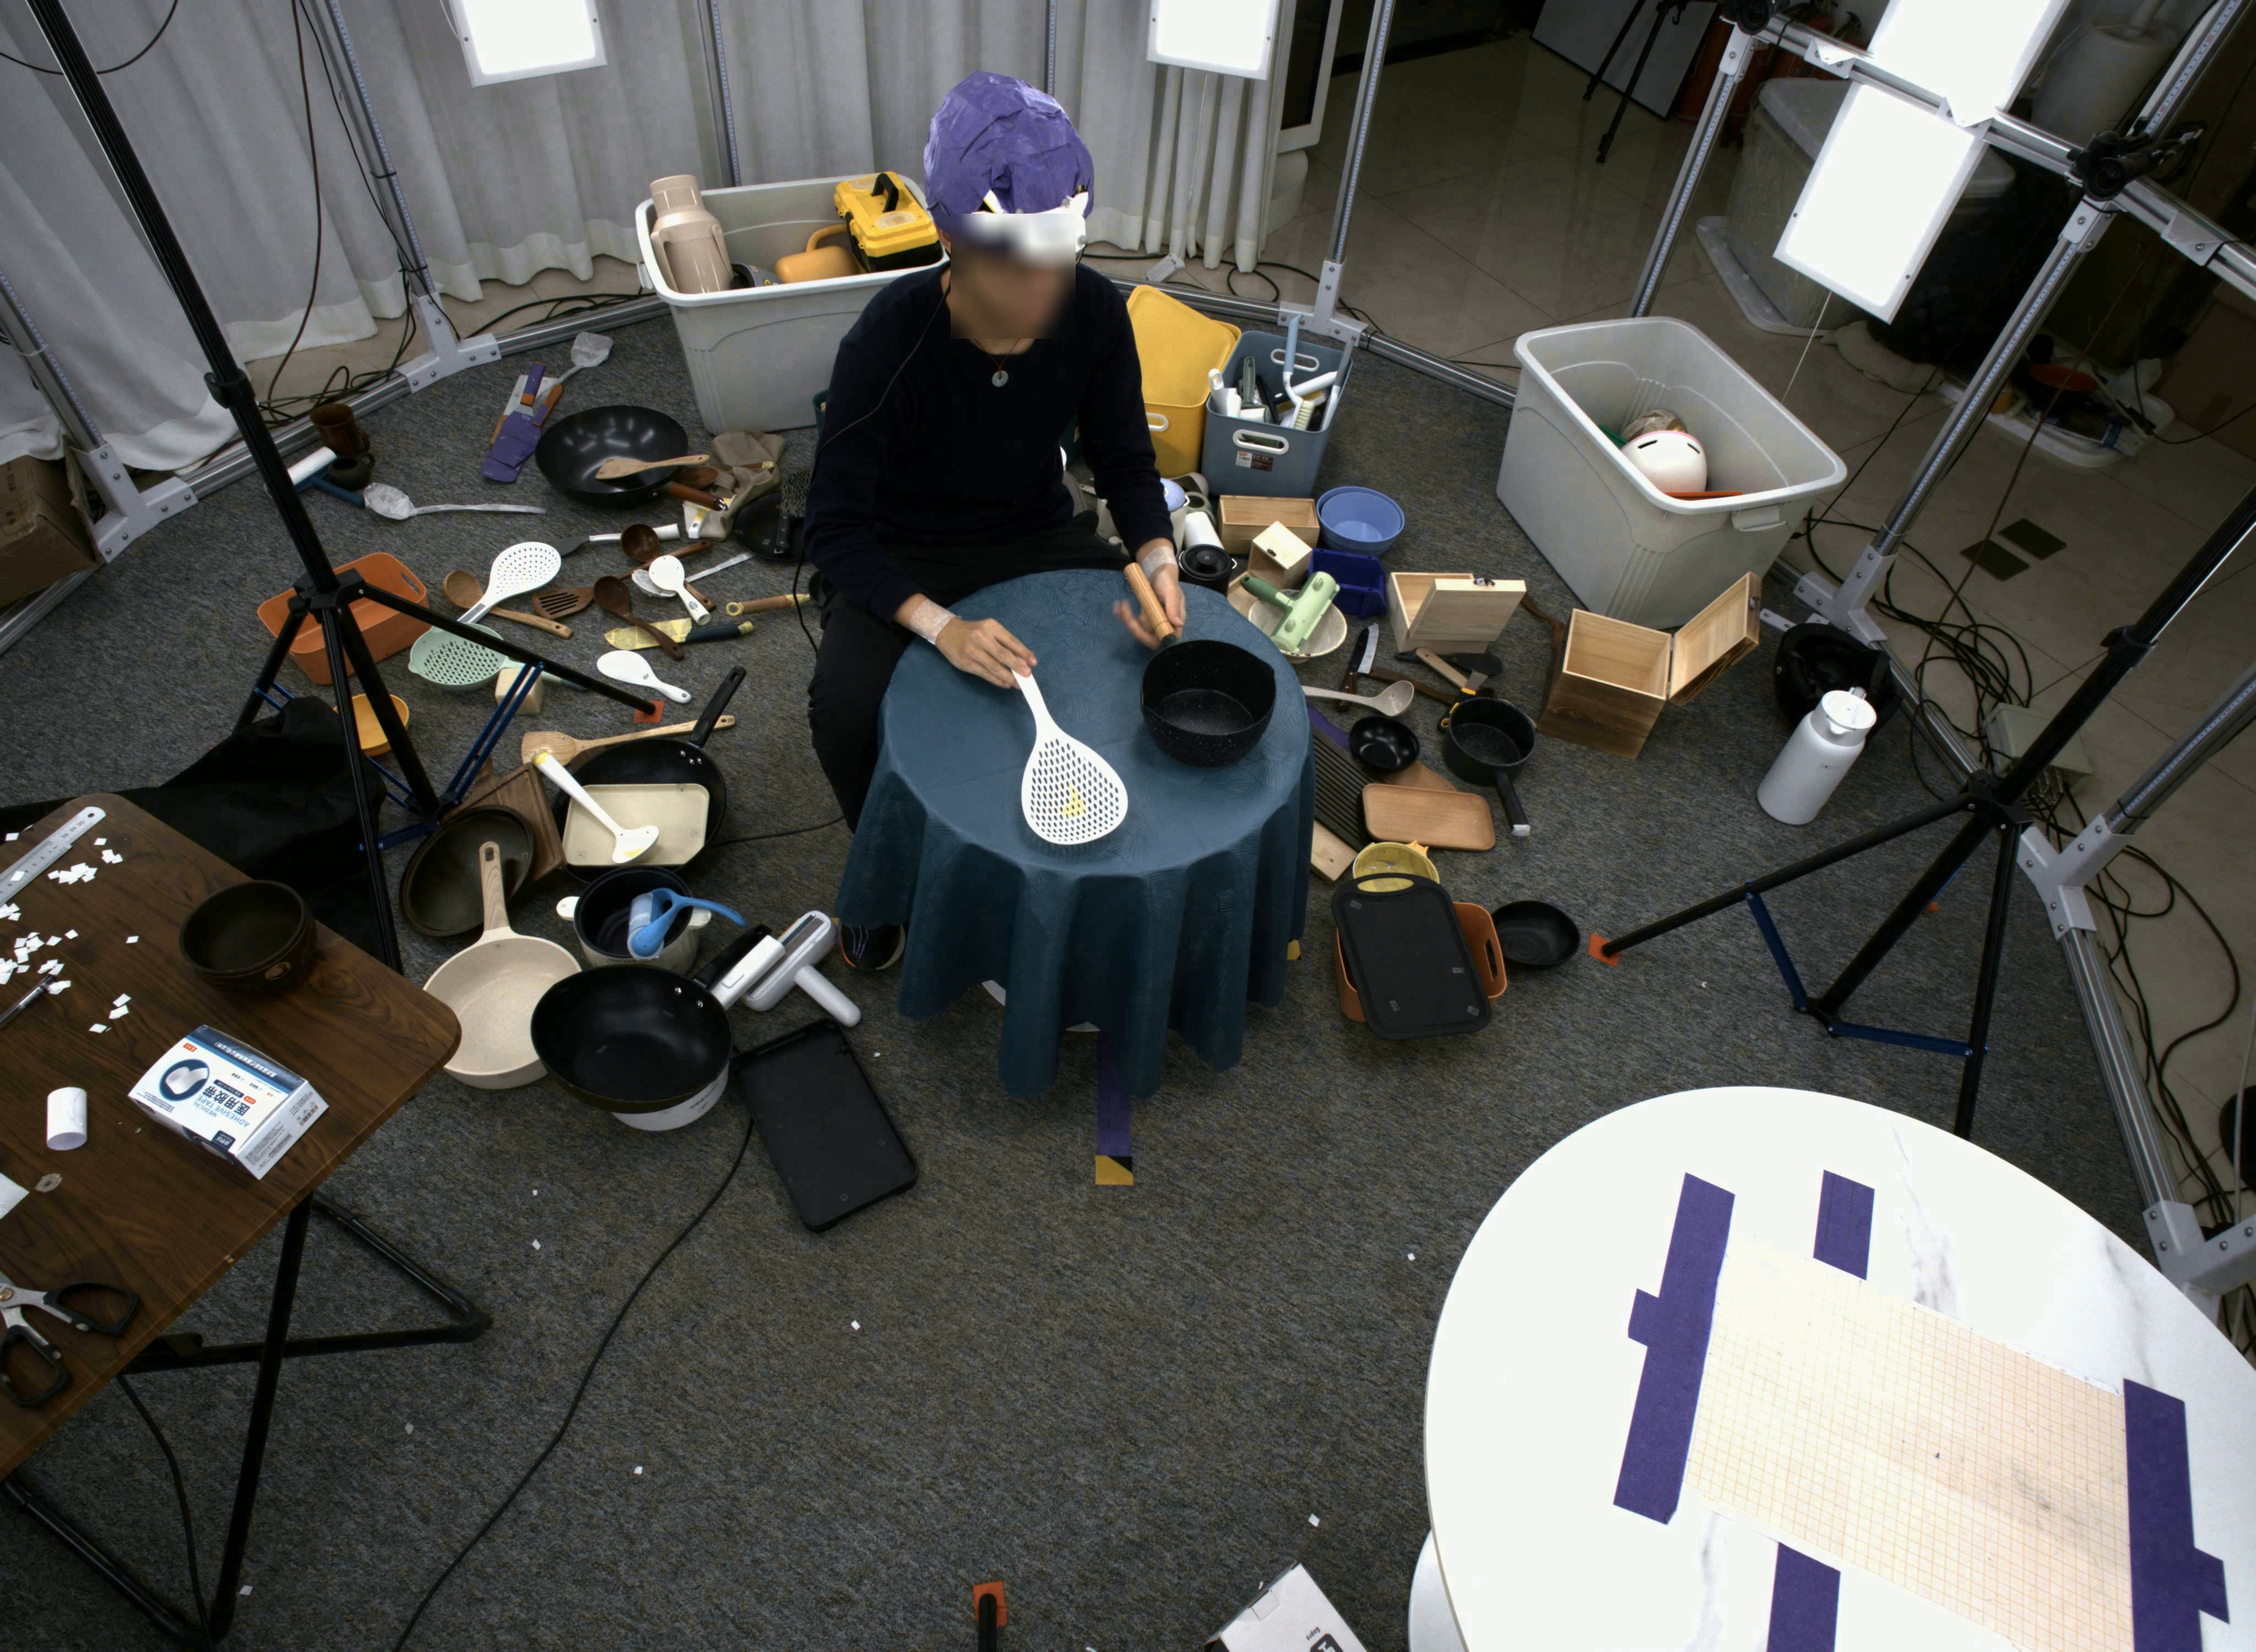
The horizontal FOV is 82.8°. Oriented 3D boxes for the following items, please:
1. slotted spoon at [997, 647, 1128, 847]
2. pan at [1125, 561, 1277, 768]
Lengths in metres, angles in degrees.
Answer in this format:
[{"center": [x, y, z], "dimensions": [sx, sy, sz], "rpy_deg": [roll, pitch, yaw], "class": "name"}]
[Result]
[{"center": [-0.108, -0.117, 1.709], "dimensions": [0.137, 0.049, 0.355], "rpy_deg": [-19, 64, -8], "class": "slotted spoon"}, {"center": [0.073, -0.228, 1.801], "dimensions": [0.208, 0.105, 0.350], "rpy_deg": [-19, 55, -18], "class": "pan"}]
